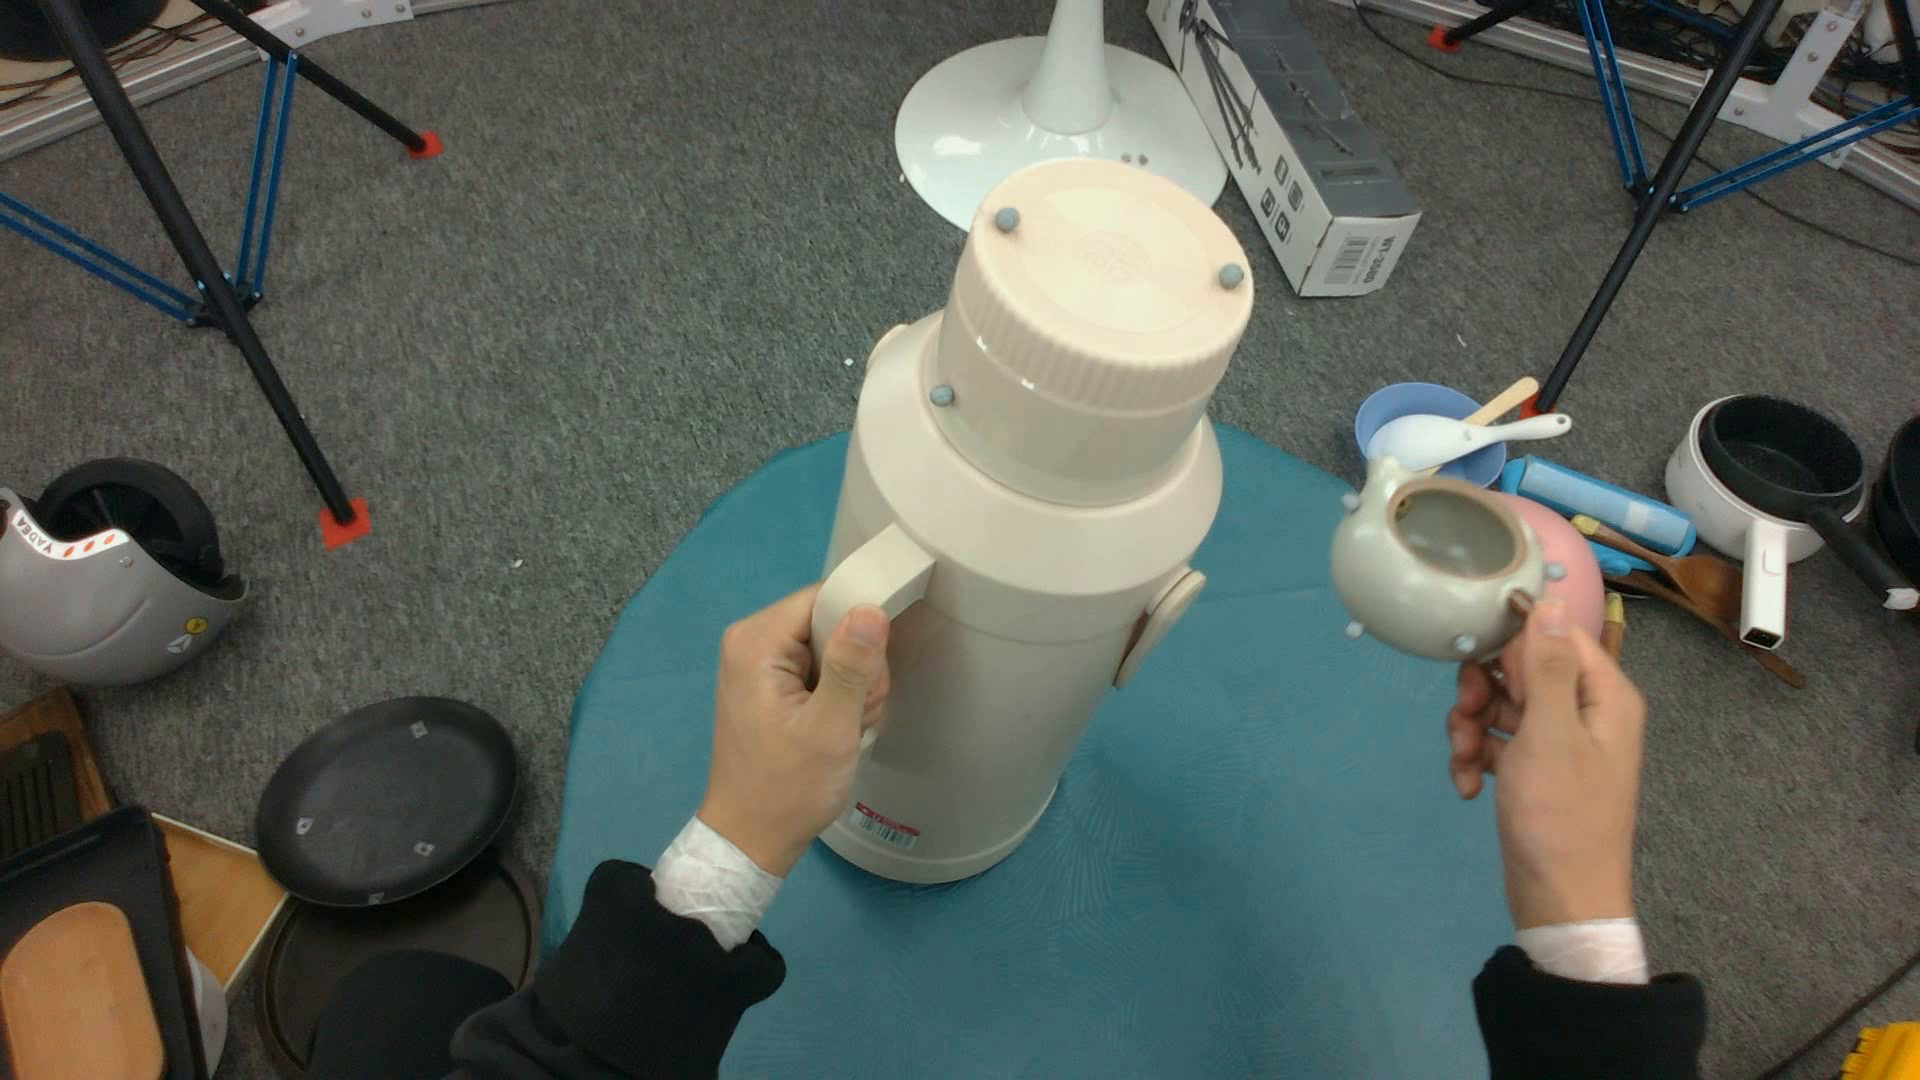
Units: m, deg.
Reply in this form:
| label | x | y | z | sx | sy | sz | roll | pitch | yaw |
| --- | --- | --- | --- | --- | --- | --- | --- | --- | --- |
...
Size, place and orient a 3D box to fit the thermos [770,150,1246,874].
| label | x | y | z | sx | sy | sz | roll | pitch | yaw |
| --- | --- | --- | --- | --- | --- | --- | --- | --- | --- |
| thermos | 0.000 | 0.015 | 0.641 | 0.175 | 0.404 | 0.208 | 41 | 55 | 14 |

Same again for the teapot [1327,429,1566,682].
| label | x | y | z | sx | sy | sz | roll | pitch | yaw |
| --- | --- | --- | --- | --- | --- | --- | --- | --- | --- |
| teapot | 0.214 | 0.009 | 0.604 | 0.092 | 0.059 | 0.128 | -18 | 53 | -27 |
